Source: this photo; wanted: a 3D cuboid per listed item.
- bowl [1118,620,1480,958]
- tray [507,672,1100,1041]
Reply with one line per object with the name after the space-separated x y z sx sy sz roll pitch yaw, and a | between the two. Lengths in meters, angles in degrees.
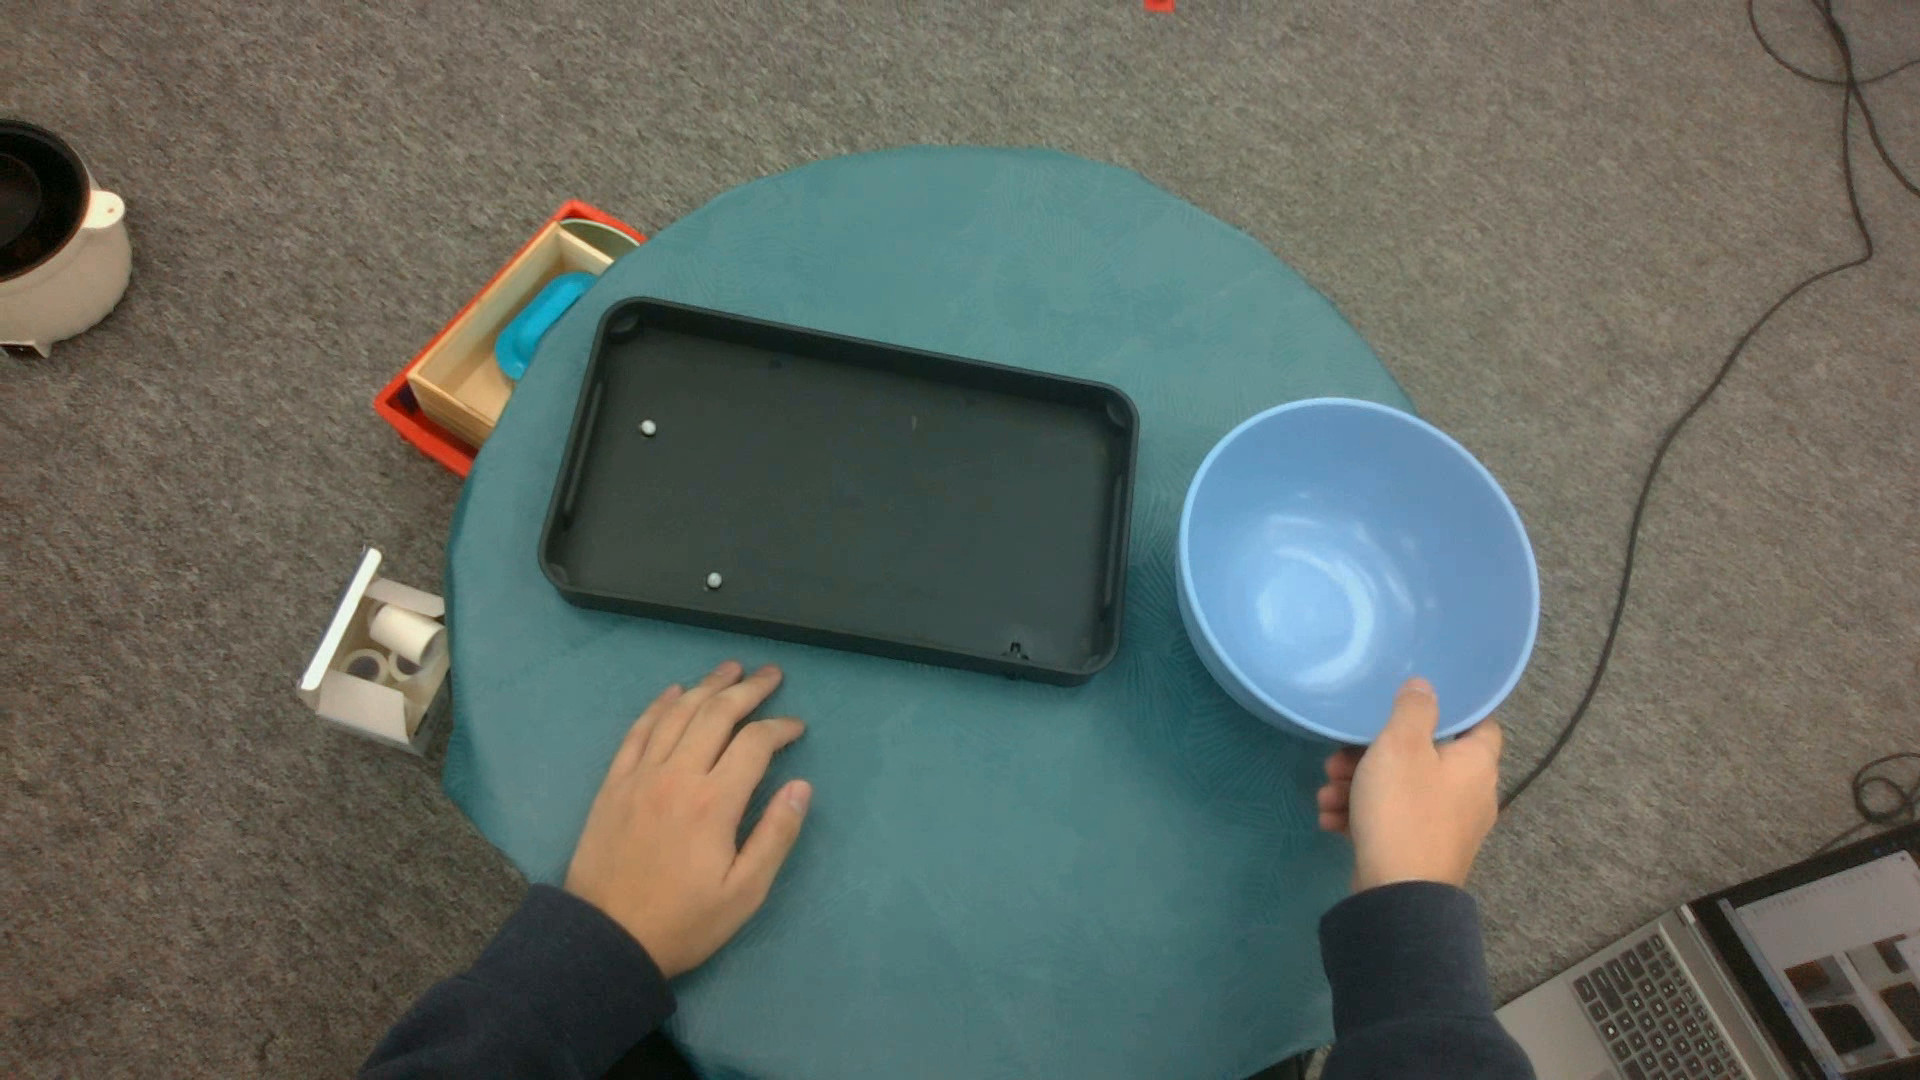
0.181 0.152 0.782 0.196 0.095 0.197 2 52 -3 | bowl
-0.090 0.176 0.791 0.318 0.037 0.185 -5 53 -6 | tray
